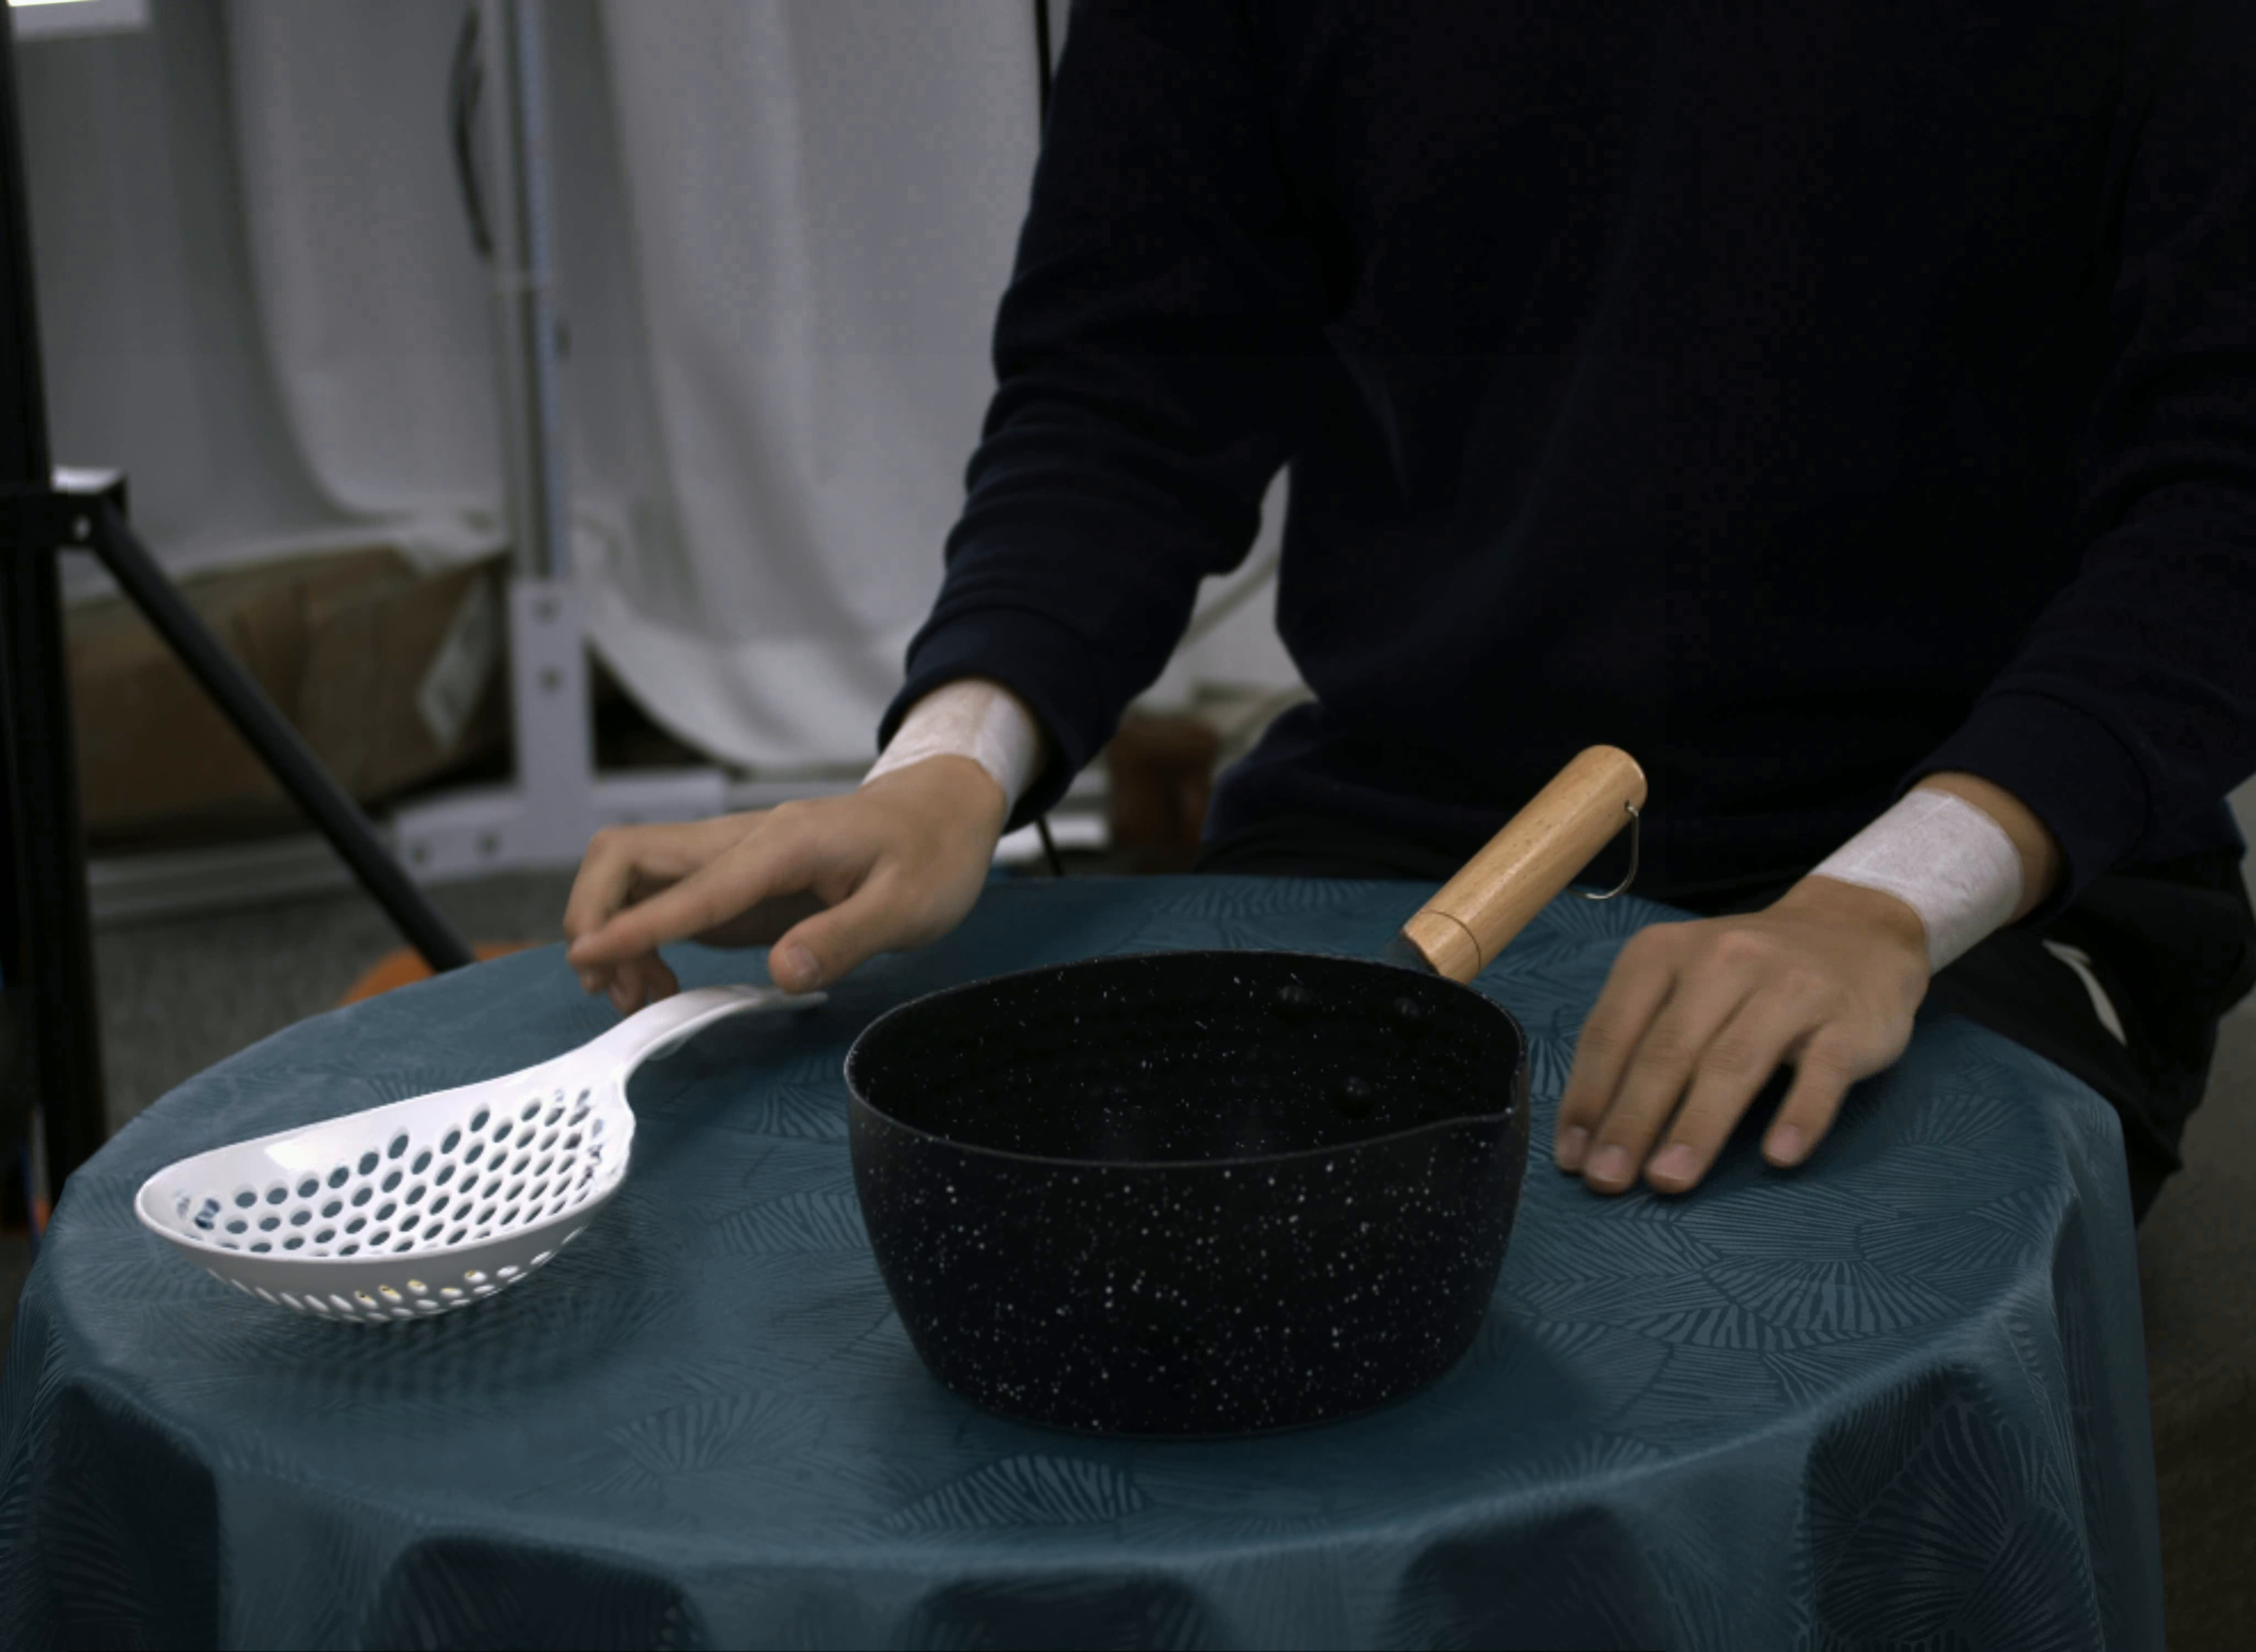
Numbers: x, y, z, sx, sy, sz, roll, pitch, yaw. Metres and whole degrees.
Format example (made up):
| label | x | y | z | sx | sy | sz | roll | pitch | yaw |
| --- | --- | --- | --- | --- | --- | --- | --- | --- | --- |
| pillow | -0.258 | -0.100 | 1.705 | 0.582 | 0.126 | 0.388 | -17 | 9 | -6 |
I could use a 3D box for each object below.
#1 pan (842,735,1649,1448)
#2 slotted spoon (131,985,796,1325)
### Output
| label | x | y | z | sx | sy | sz | roll | pitch | yaw |
| --- | --- | --- | --- | --- | --- | --- | --- | --- | --- |
| pan | 0.058 | 0.069 | 1.488 | 0.211 | 0.108 | 0.336 | 6 | 19 | 32 |
| slotted spoon | -0.168 | 0.085 | 1.590 | 0.138 | 0.050 | 0.344 | 1 | 18 | 21 |
